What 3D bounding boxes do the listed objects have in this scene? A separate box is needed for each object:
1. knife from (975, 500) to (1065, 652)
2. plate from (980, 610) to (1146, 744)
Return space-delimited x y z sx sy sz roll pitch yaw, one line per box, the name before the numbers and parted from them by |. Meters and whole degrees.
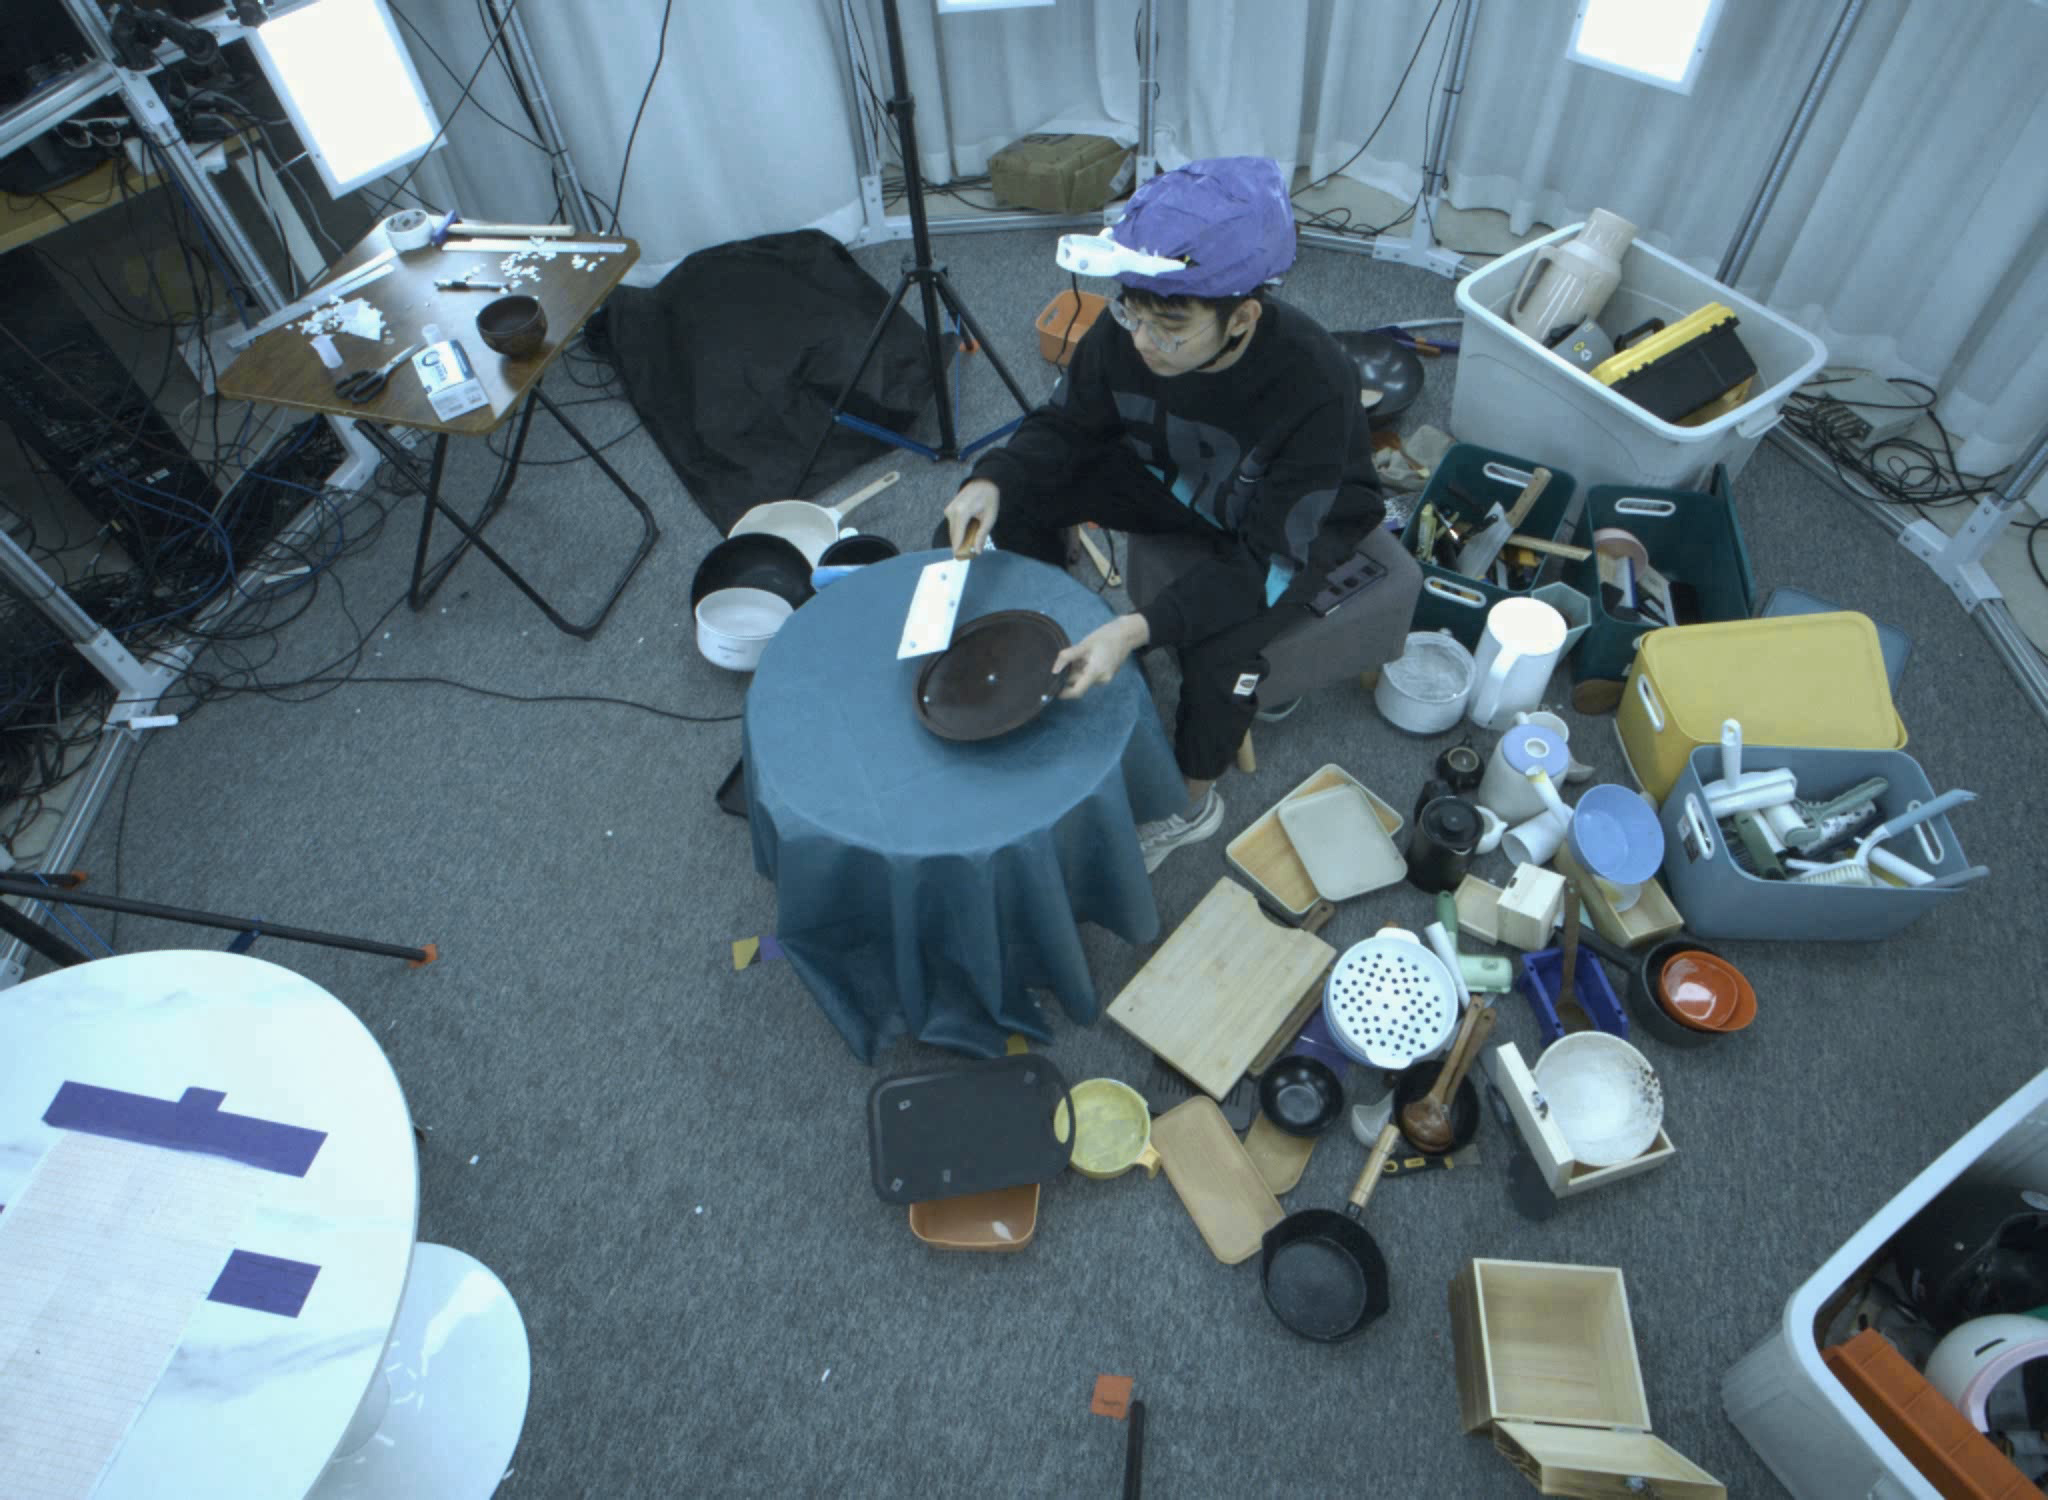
knife | -0.009 -0.269 1.880 0.091 0.021 0.304 -5 51 31
plate | 0.058 -0.108 1.808 0.252 0.029 0.252 -10 50 14
